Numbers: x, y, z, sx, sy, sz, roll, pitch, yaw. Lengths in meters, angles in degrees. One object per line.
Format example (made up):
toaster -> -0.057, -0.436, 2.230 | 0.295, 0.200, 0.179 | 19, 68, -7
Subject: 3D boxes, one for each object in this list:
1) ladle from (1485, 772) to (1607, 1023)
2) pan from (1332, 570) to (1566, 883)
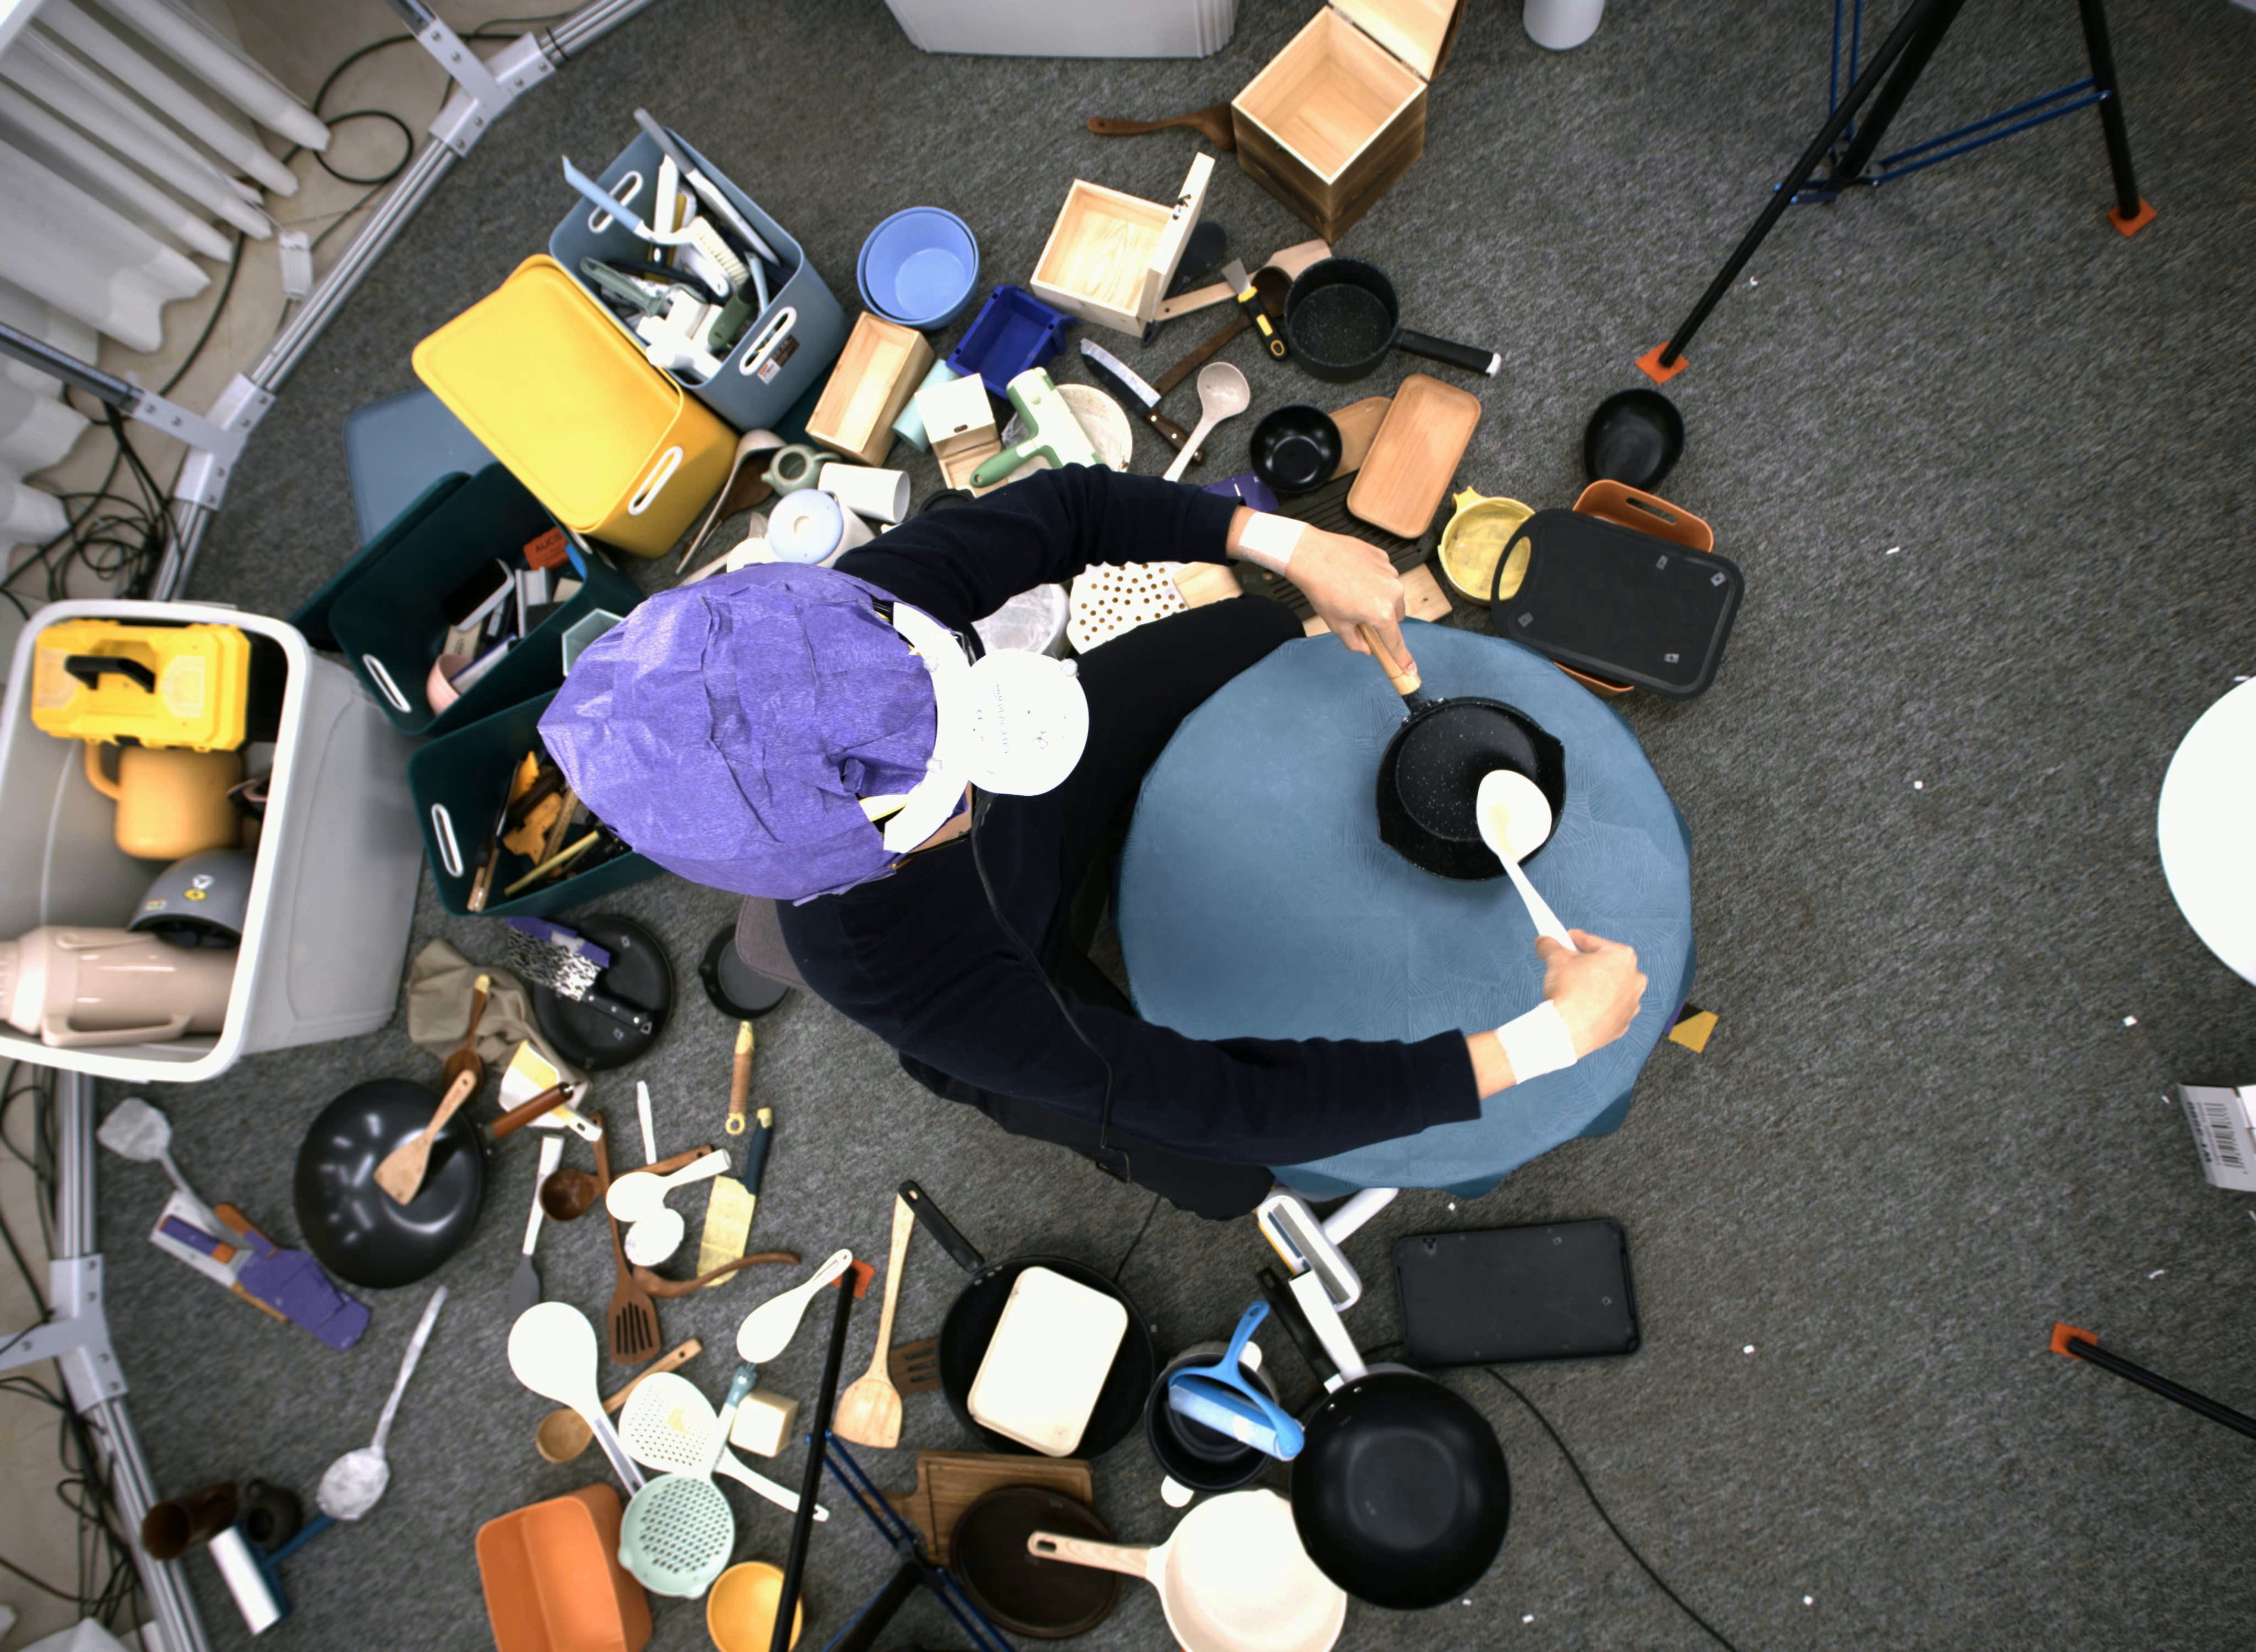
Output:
ladle -> 0.391, 0.058, 1.264 | 0.090, 0.286, 0.071 | 31, 118, -23
pan -> 0.298, -0.108, 1.363 | 0.210, 0.106, 0.345 | -30, 101, 20
